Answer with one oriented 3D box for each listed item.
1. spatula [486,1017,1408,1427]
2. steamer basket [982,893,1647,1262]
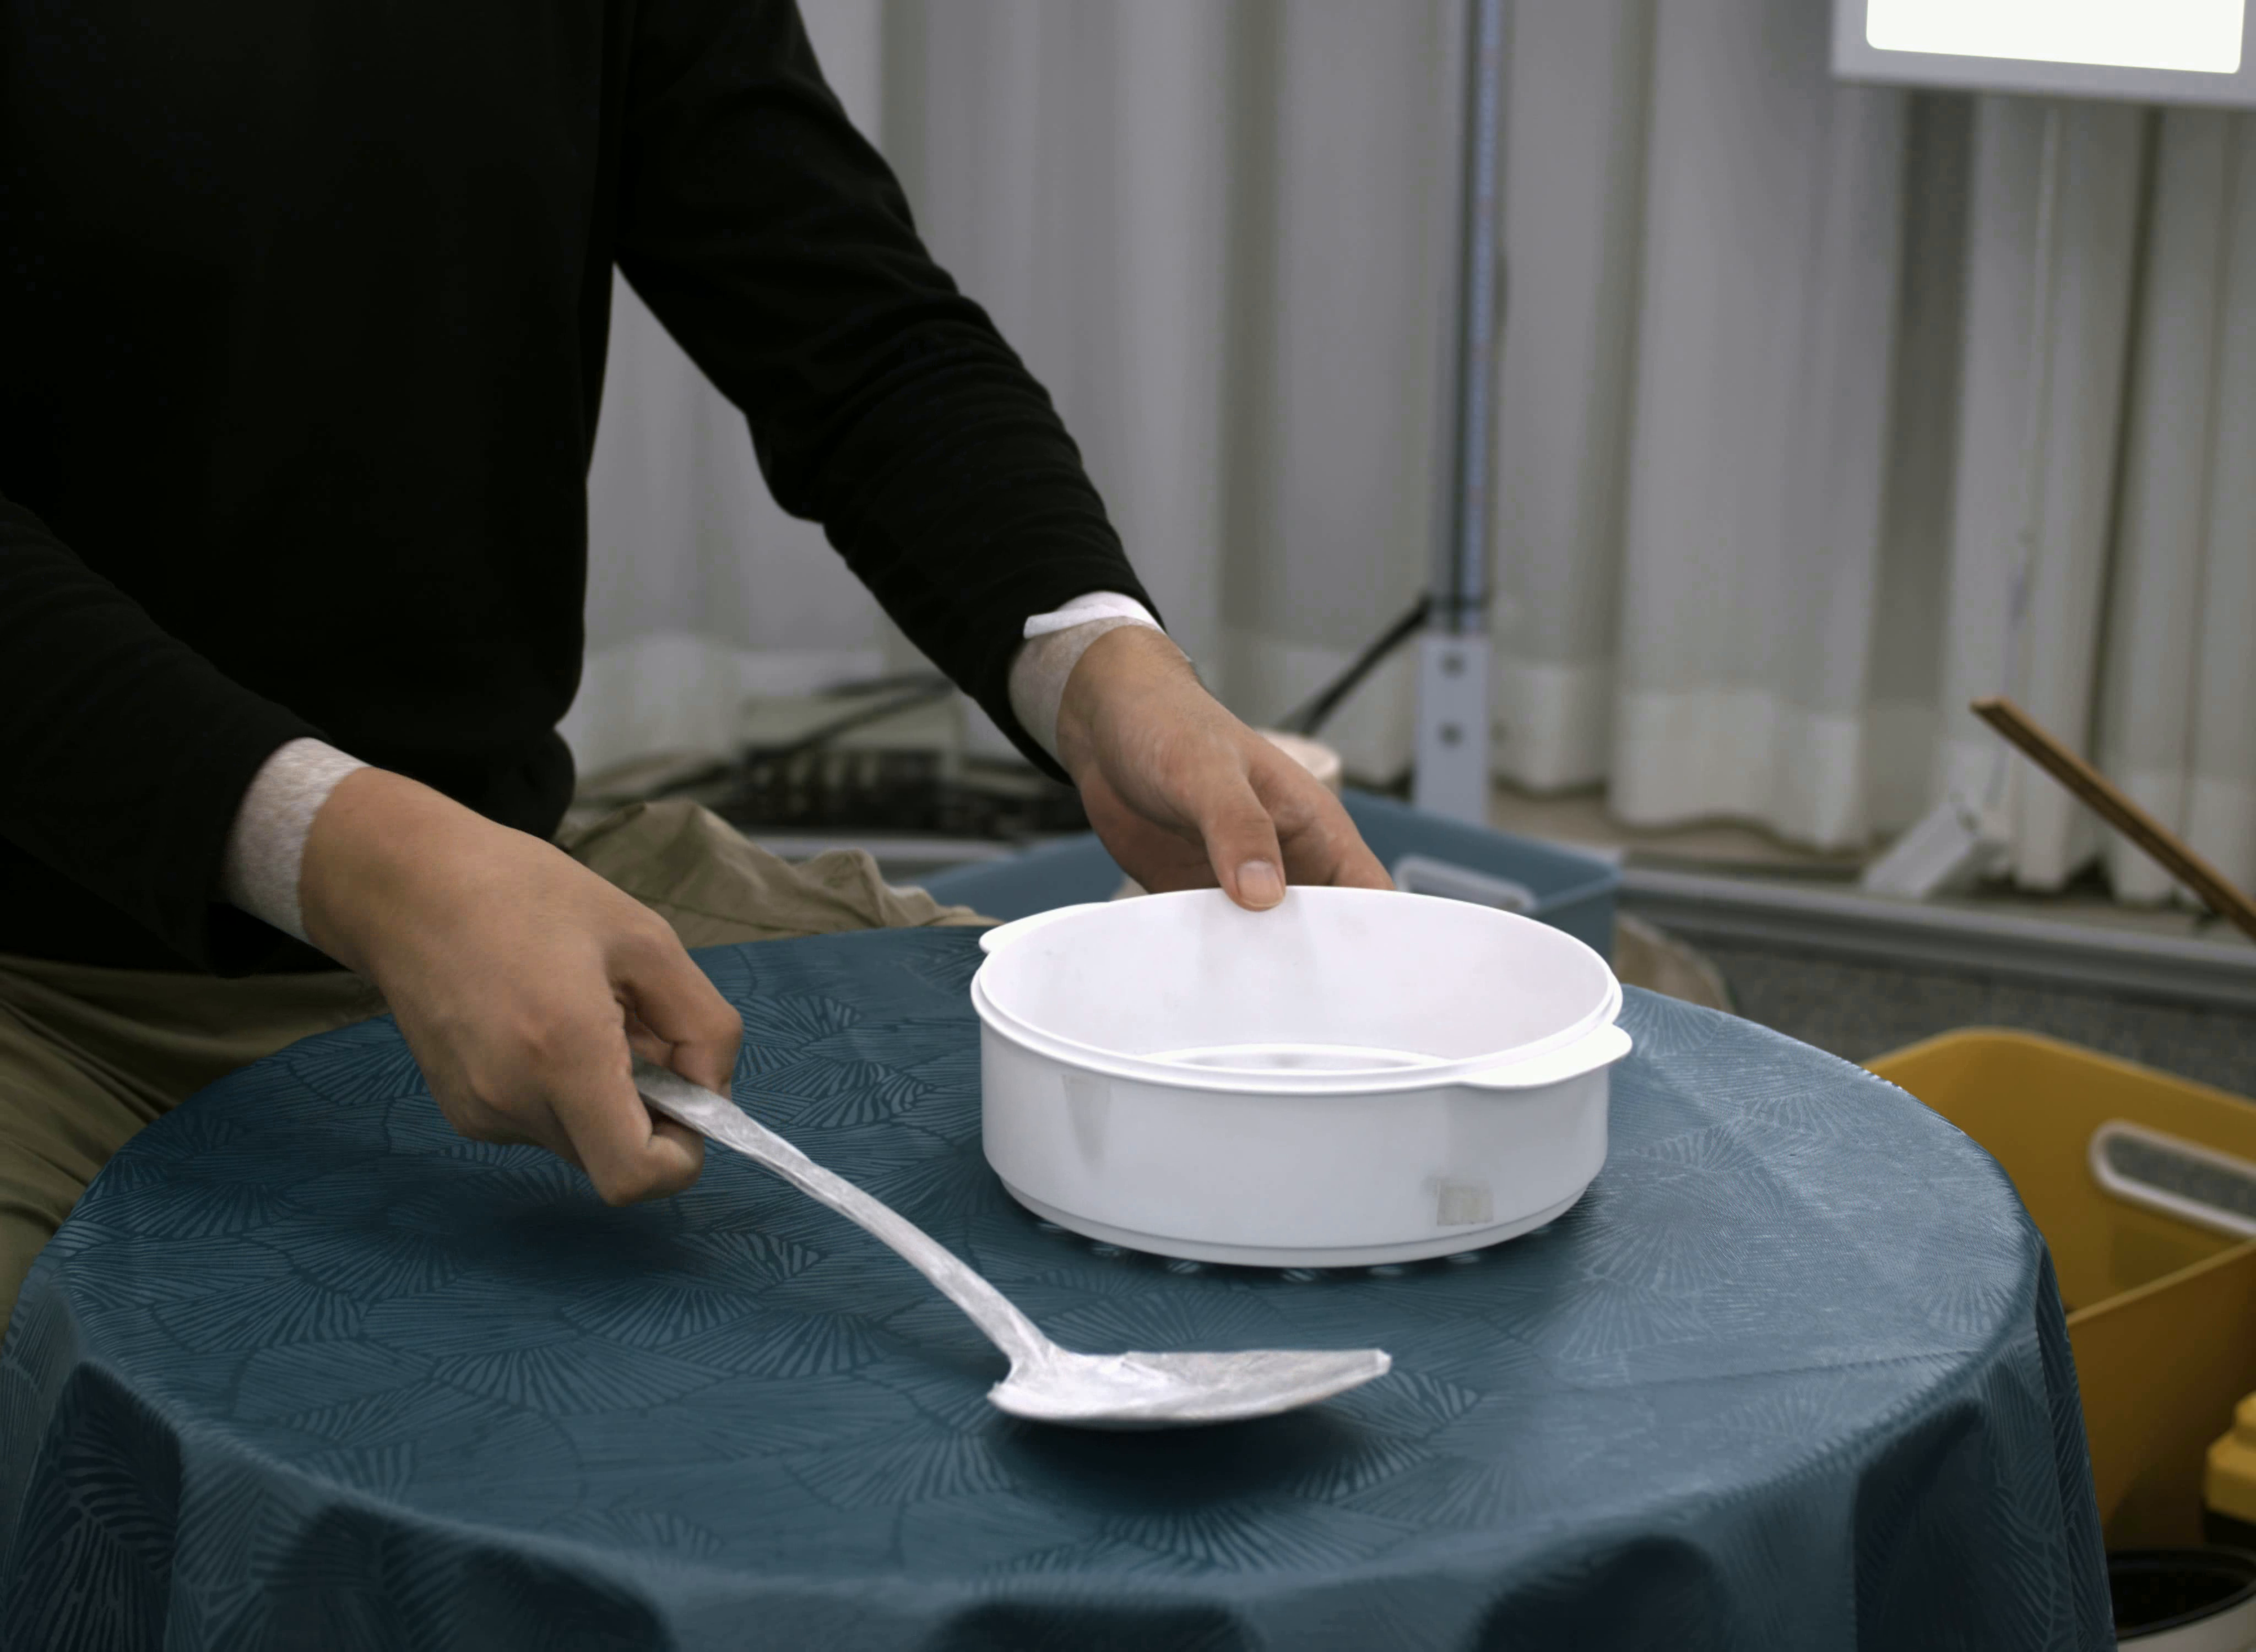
[{"bbox_3d":[-0.075,0.106,1.508,0.099,0.045,0.360,-9,27,-45],"label":"spatula"},{"bbox_3d":[0.055,0.077,1.619,0.227,0.070,0.203,13,19,41],"label":"steamer basket"}]
